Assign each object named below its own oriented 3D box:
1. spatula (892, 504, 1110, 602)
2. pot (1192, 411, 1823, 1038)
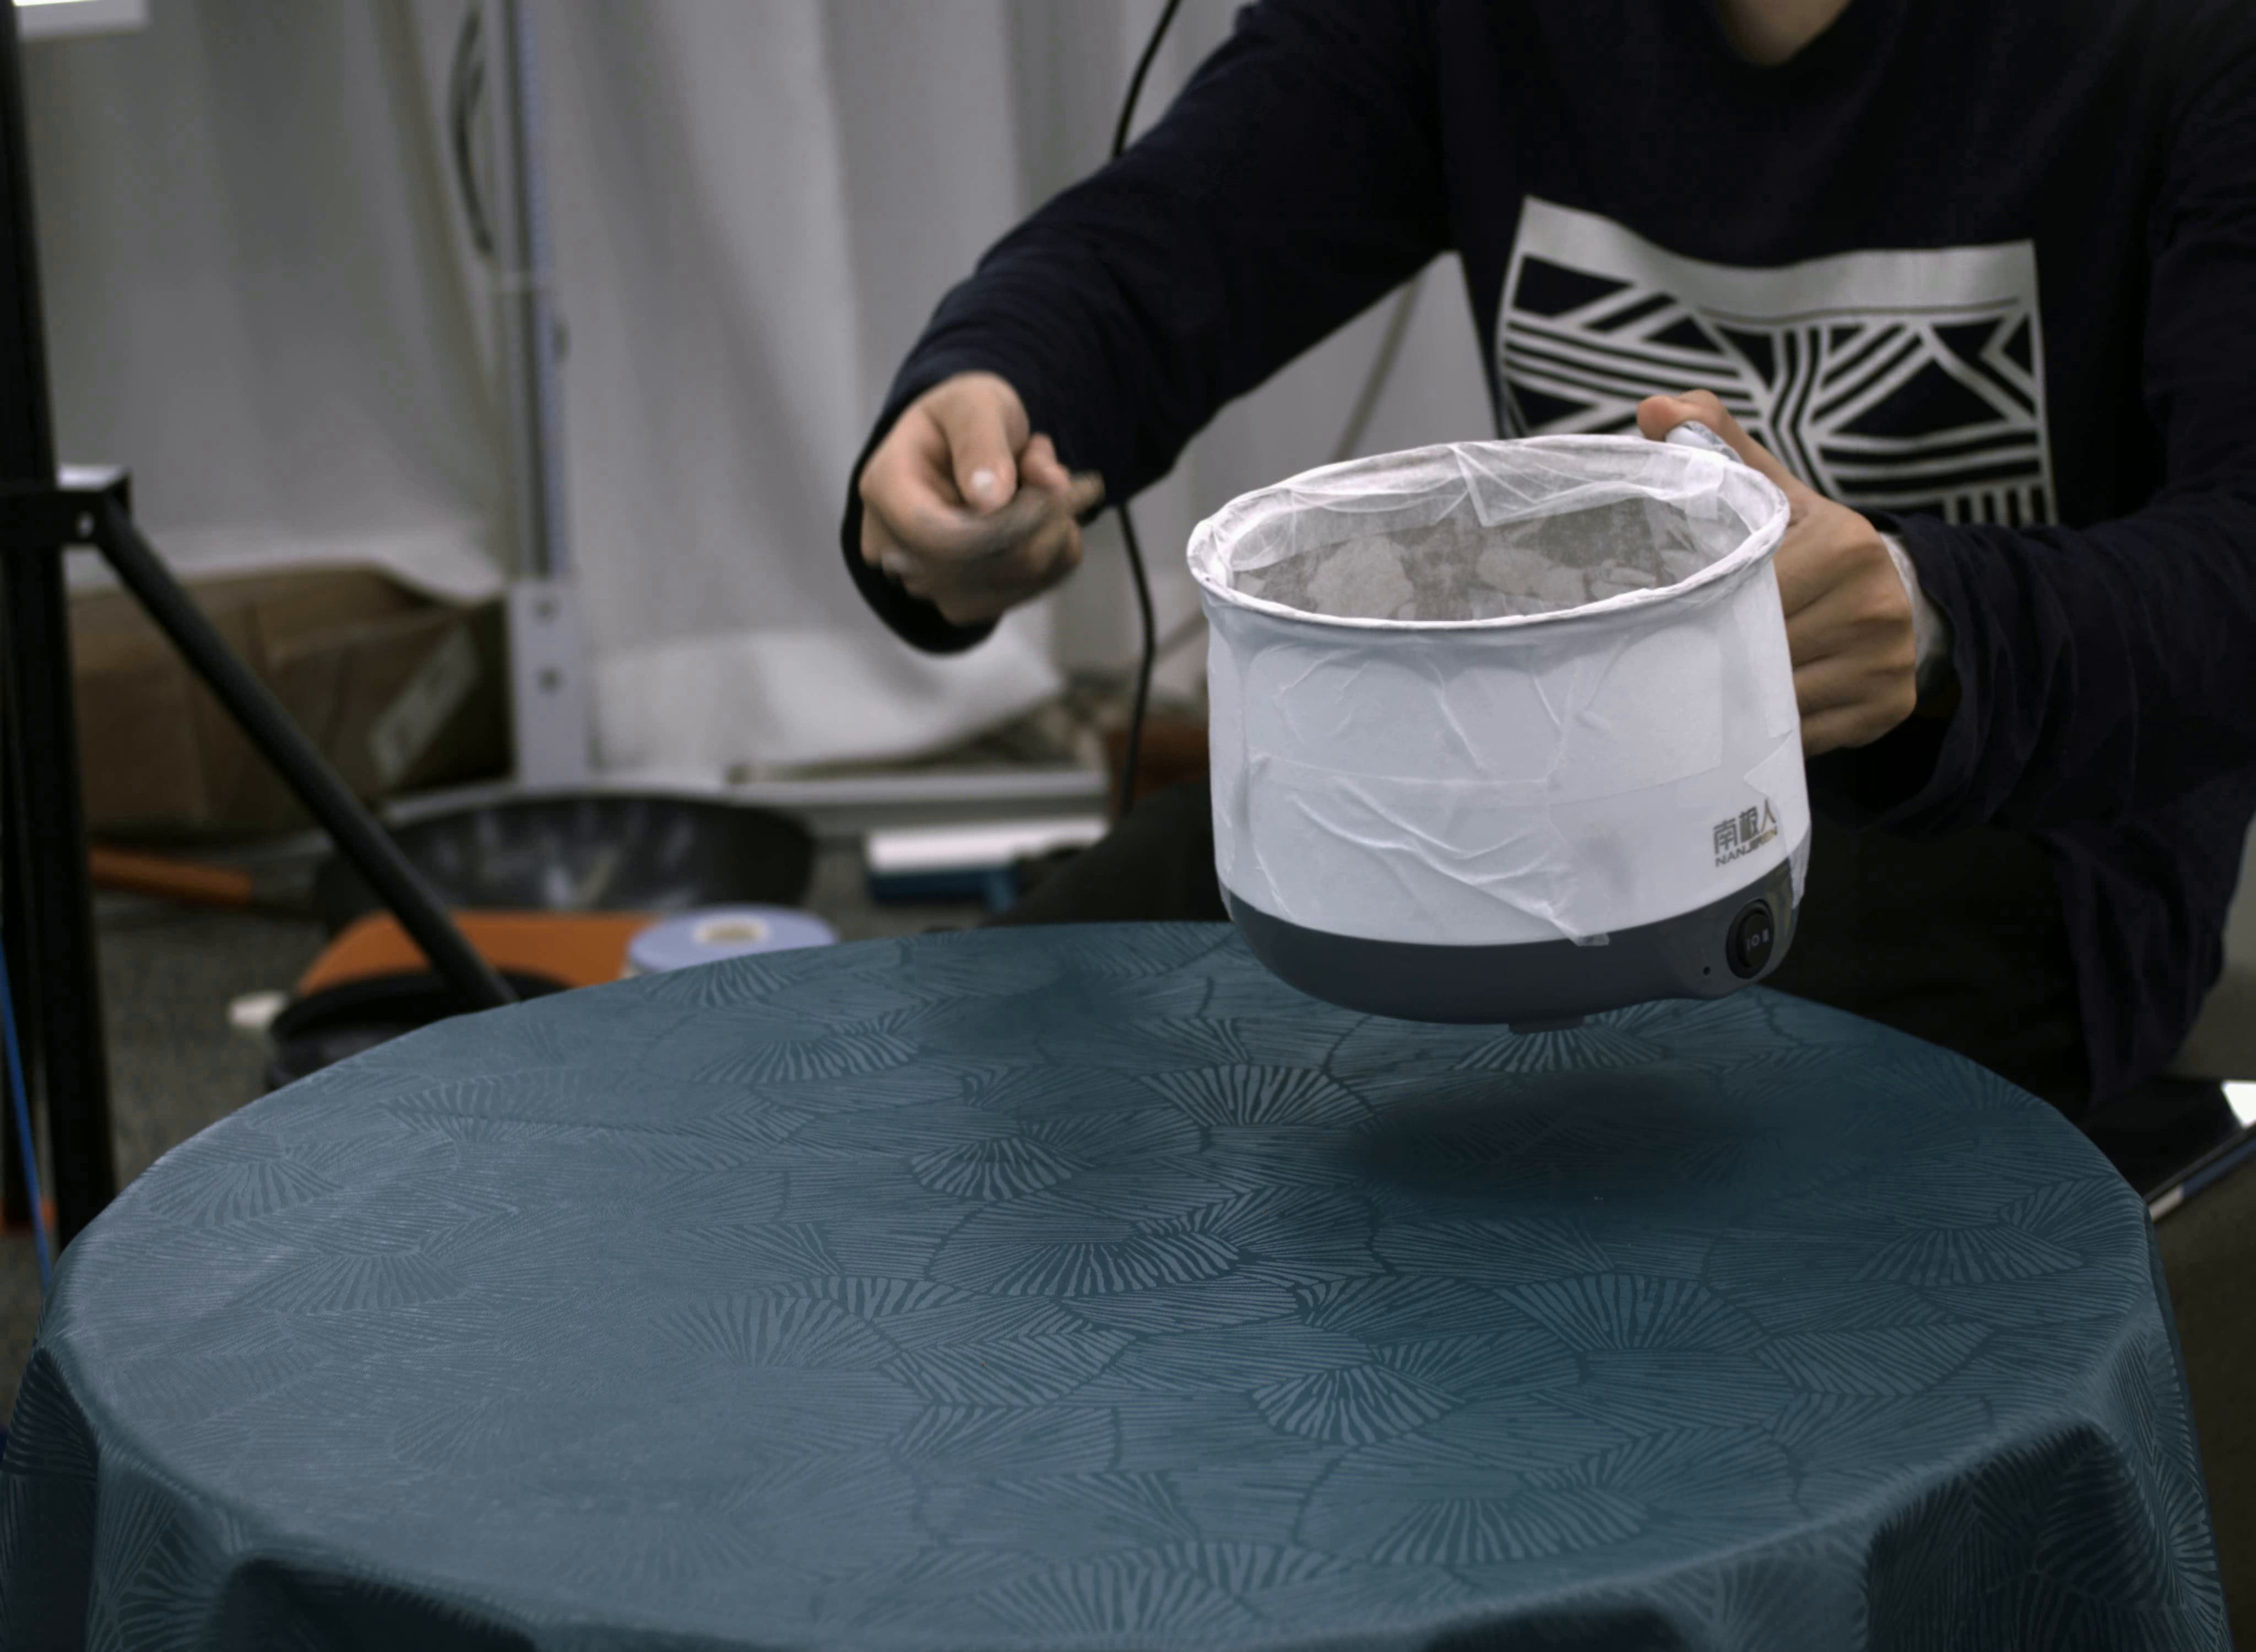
[{"bbox_3d":[-0.040,-0.092,1.705,0.072,0.009,0.216,-21,7,2],"label":"spatula"},{"bbox_3d":[0.129,-0.038,1.585,0.182,0.136,0.229,14,29,39],"label":"pot"}]
